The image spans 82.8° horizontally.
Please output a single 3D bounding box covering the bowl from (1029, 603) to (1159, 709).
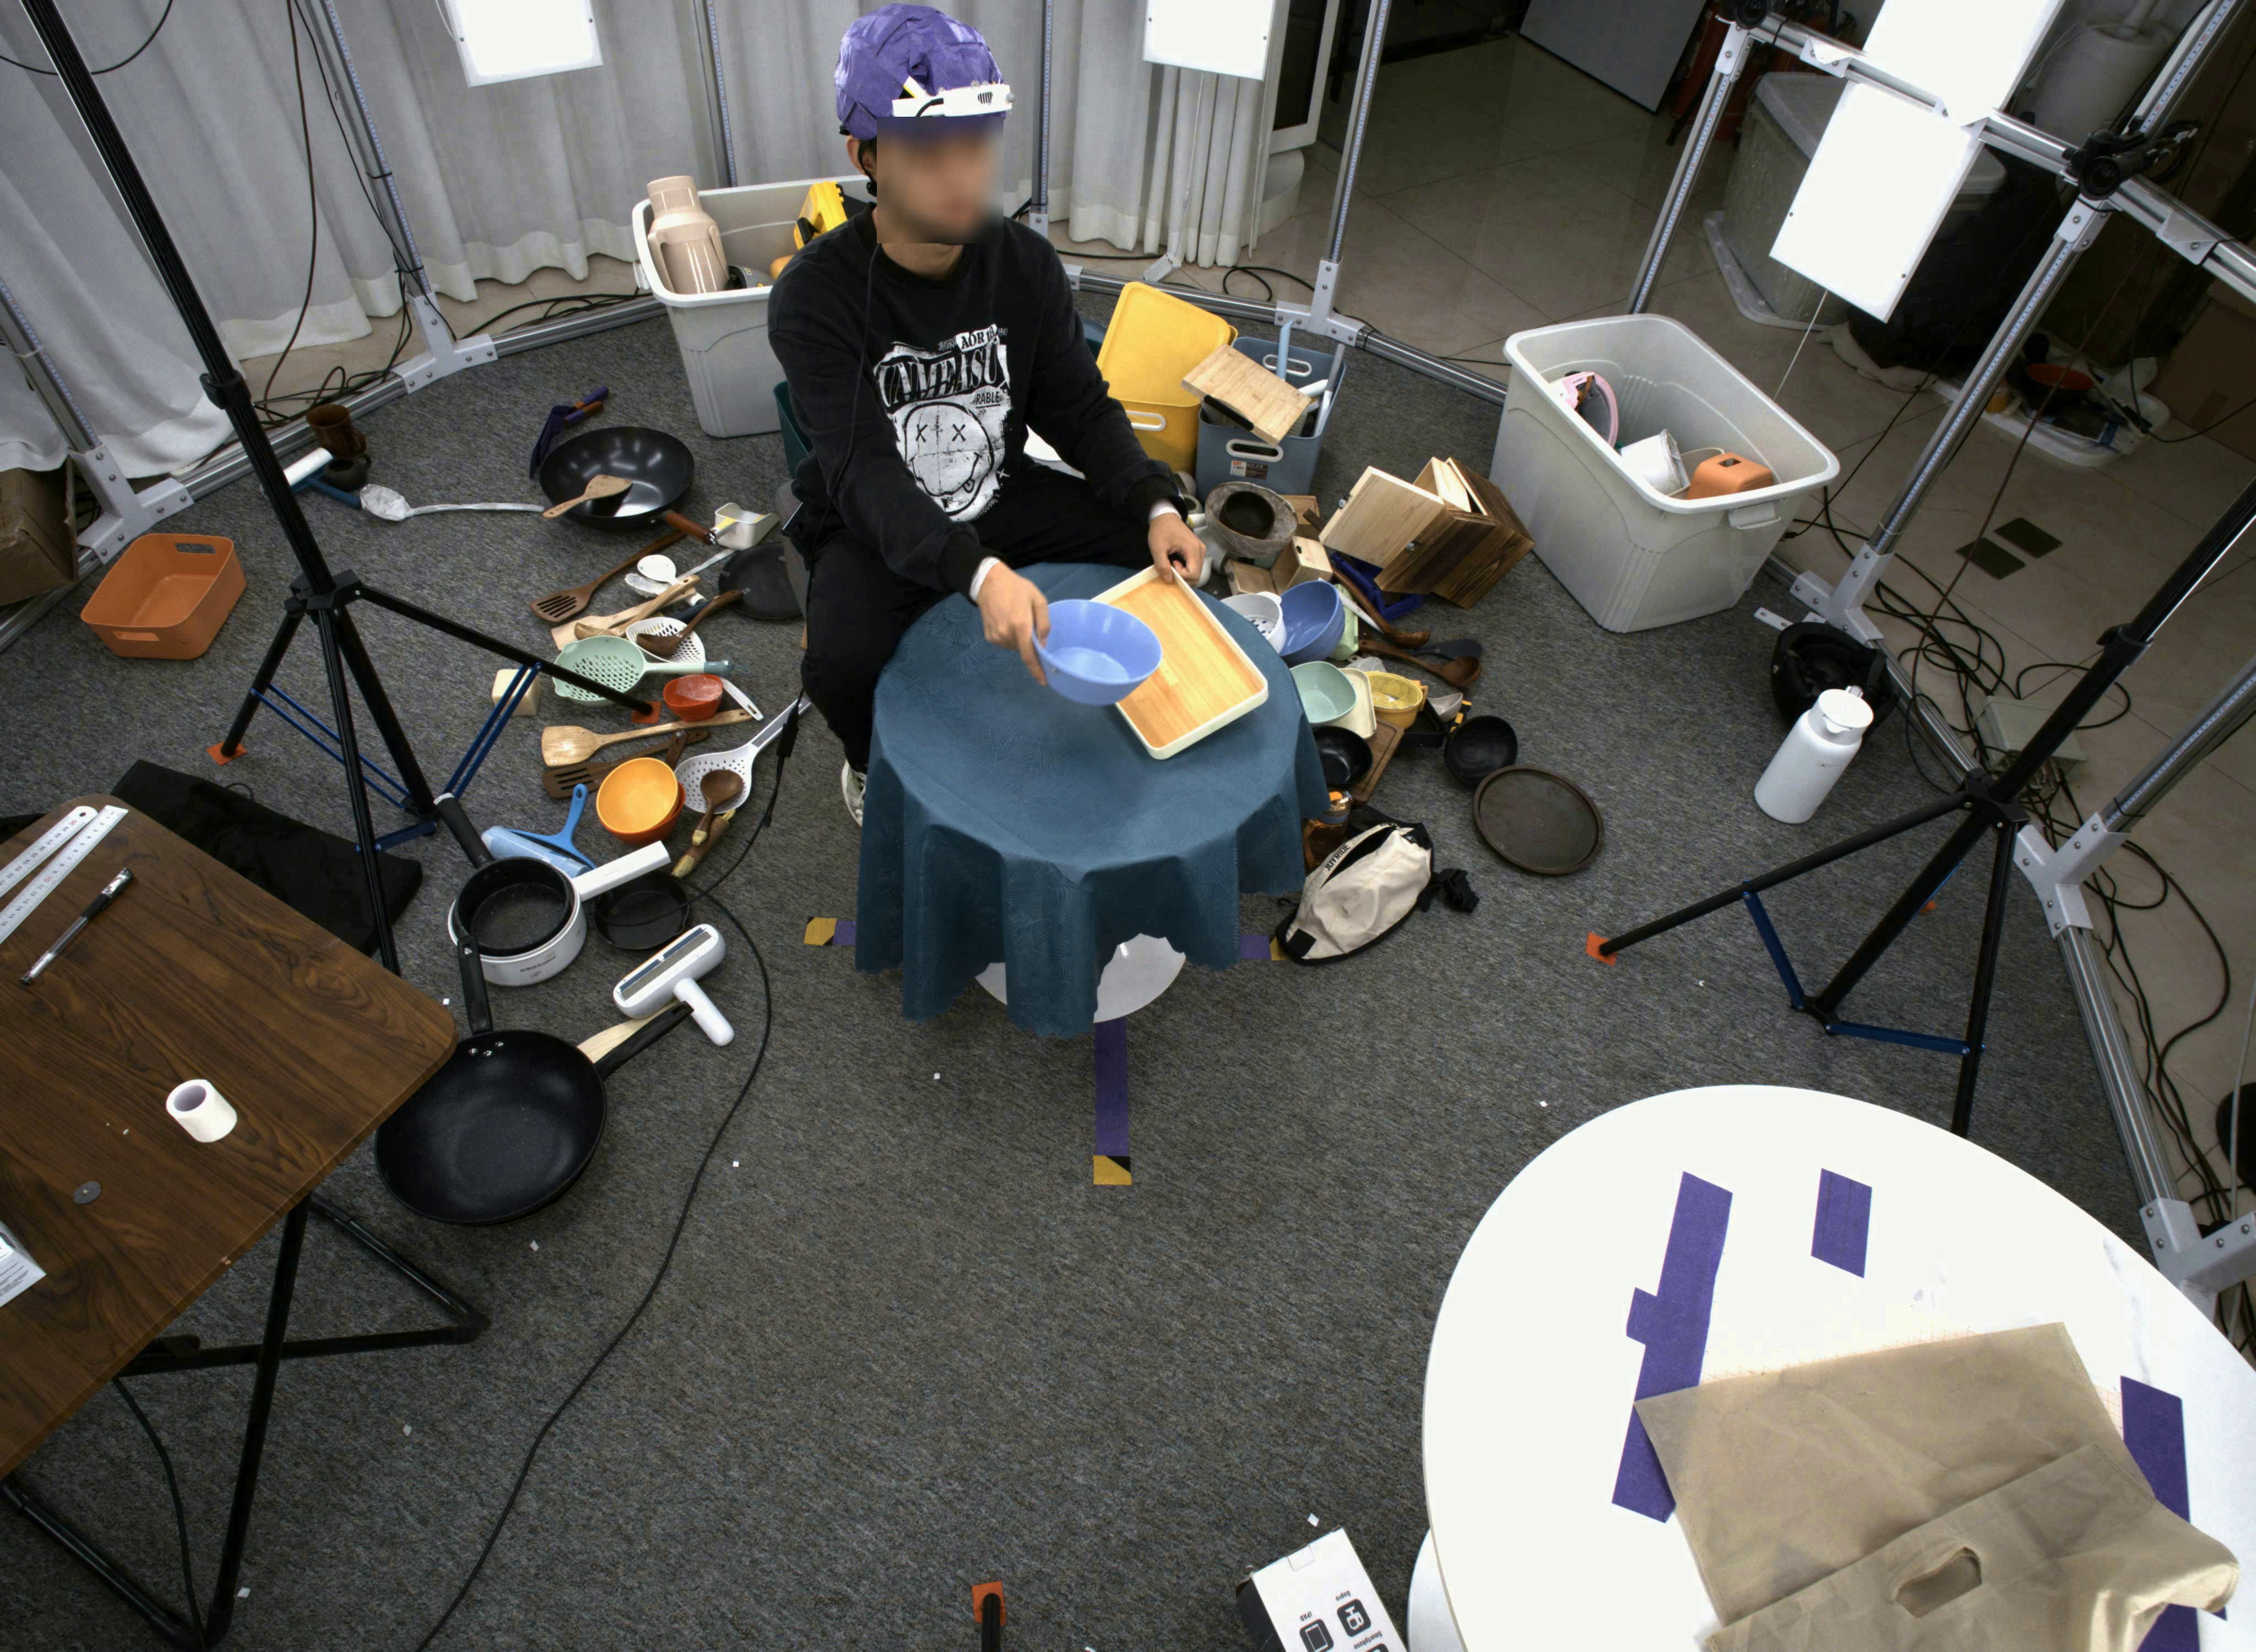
[{"bbox_3d":[-0.051,-0.217,1.704,0.175,0.069,0.180,10,44,-10],"label":"bowl"}]

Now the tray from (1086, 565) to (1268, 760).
[{"bbox_3d":[0.049,-0.241,1.848,0.192,0.027,0.307,-29,56,-7],"label":"tray"}]
